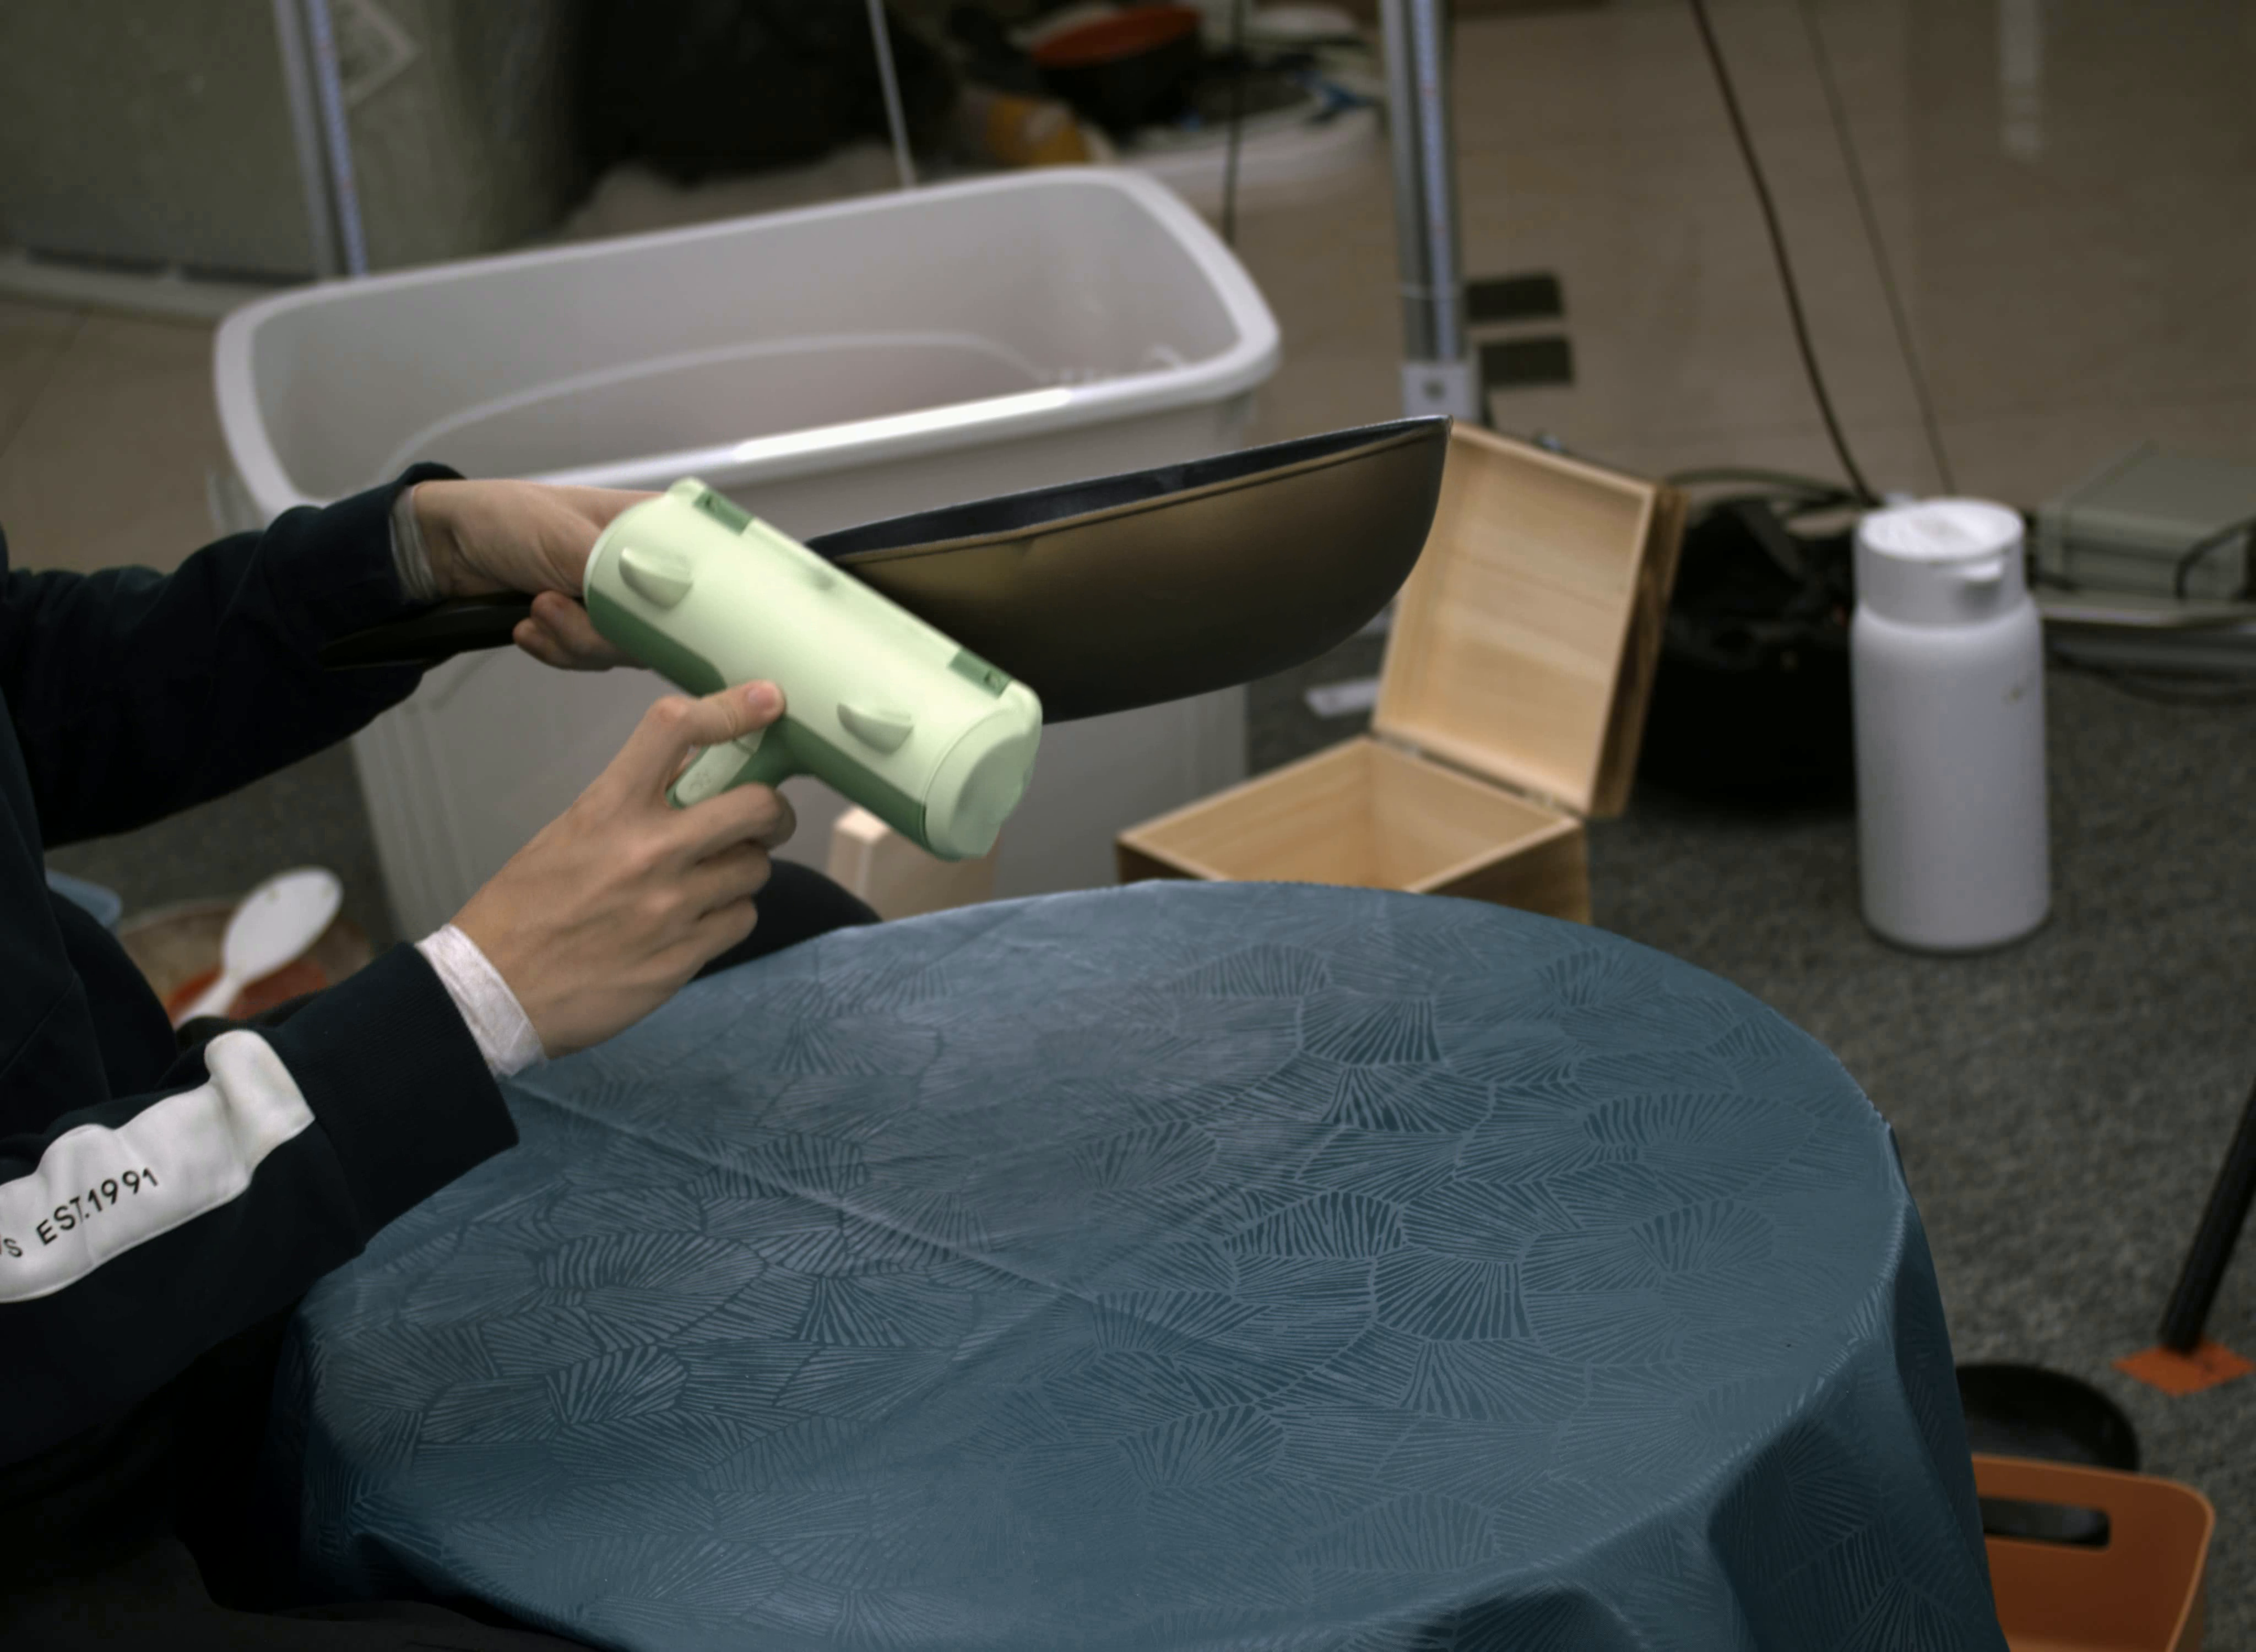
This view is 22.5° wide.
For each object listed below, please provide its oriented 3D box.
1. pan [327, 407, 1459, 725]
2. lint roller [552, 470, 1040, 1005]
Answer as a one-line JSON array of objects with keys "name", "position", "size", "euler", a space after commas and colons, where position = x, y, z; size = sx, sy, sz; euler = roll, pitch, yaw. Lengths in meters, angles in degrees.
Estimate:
[{"name": "pan", "position": [-0.090, -0.076, 2.179], "size": [0.463, 0.087, 0.286], "euler": [-11, 5, 15]}, {"name": "lint roller", "position": [-0.154, -0.021, 2.032], "size": [0.196, 0.083, 0.182], "euler": [34, 78, 30]}]
